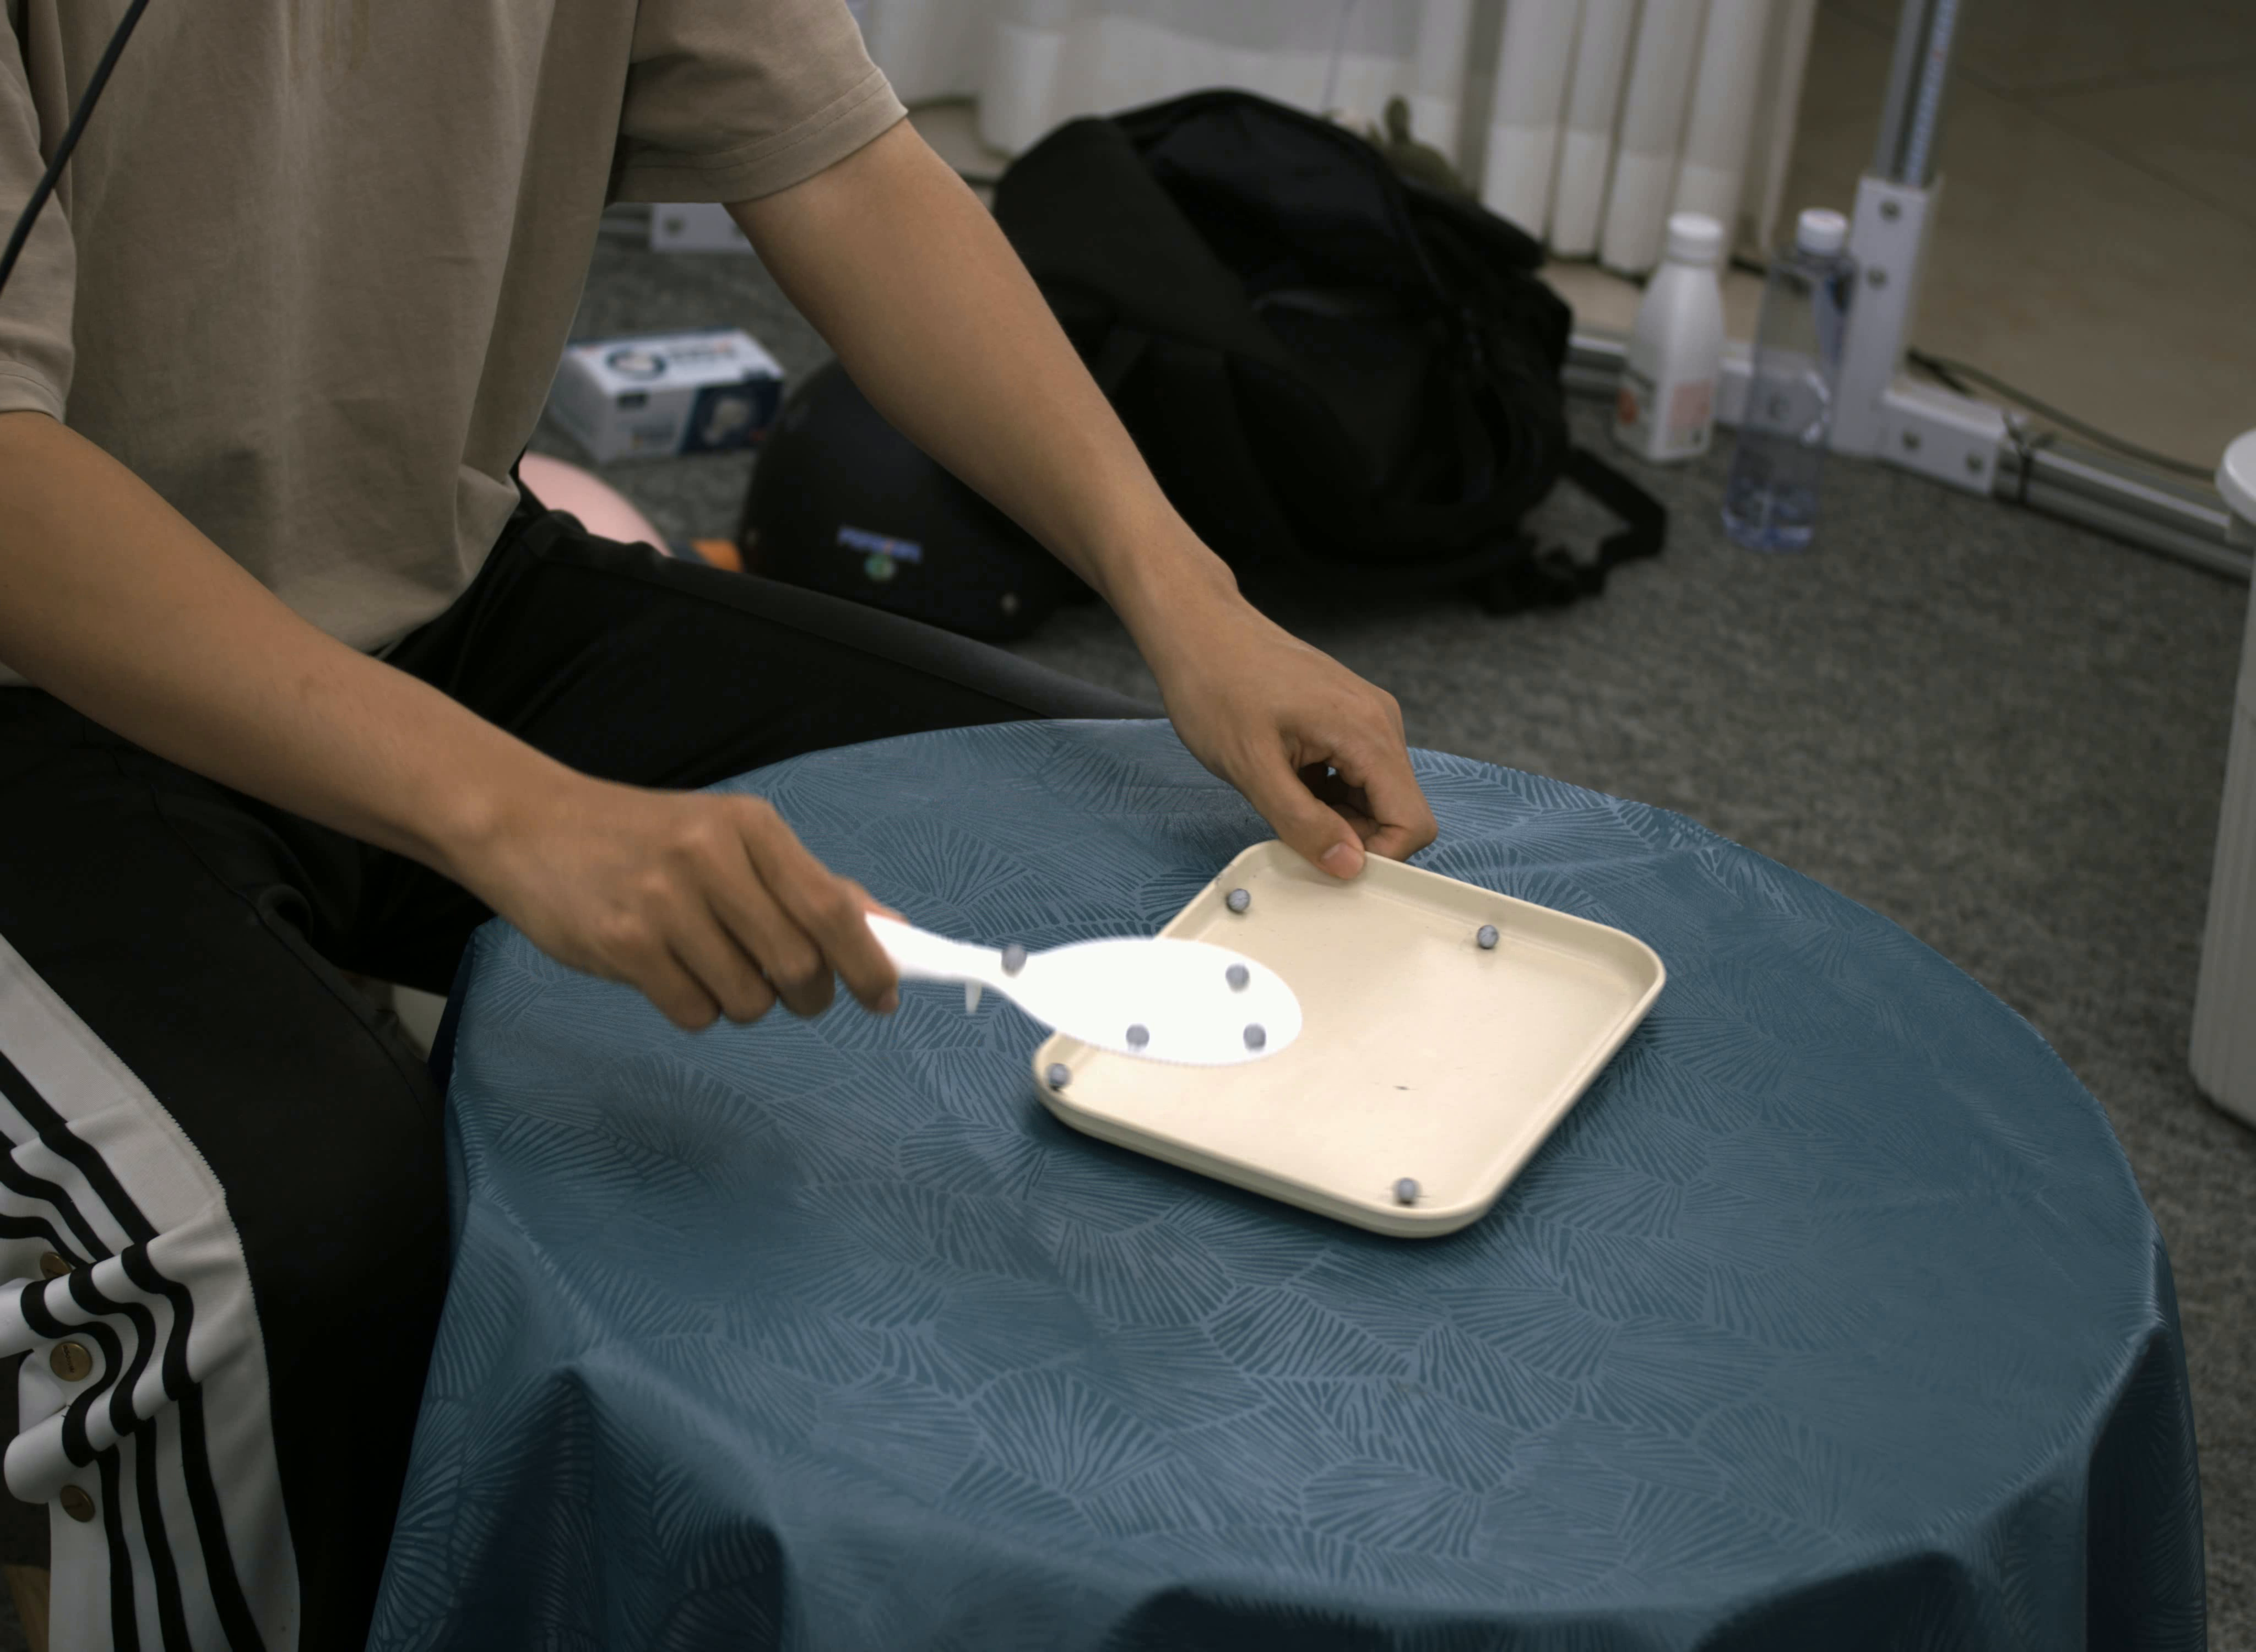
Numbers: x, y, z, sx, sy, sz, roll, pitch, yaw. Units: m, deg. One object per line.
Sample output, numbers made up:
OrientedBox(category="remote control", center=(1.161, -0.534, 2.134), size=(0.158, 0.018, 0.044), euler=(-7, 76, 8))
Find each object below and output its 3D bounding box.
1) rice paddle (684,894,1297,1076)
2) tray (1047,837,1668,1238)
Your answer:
OrientedBox(category="rice paddle", center=(-0.045, 0.052, 1.751), size=(0.205, 0.029, 0.069), euler=(9, 32, 10))
OrientedBox(category="tray", center=(0.085, 0.074, 1.902), size=(0.172, 0.017, 0.239), euler=(17, 29, 18))
